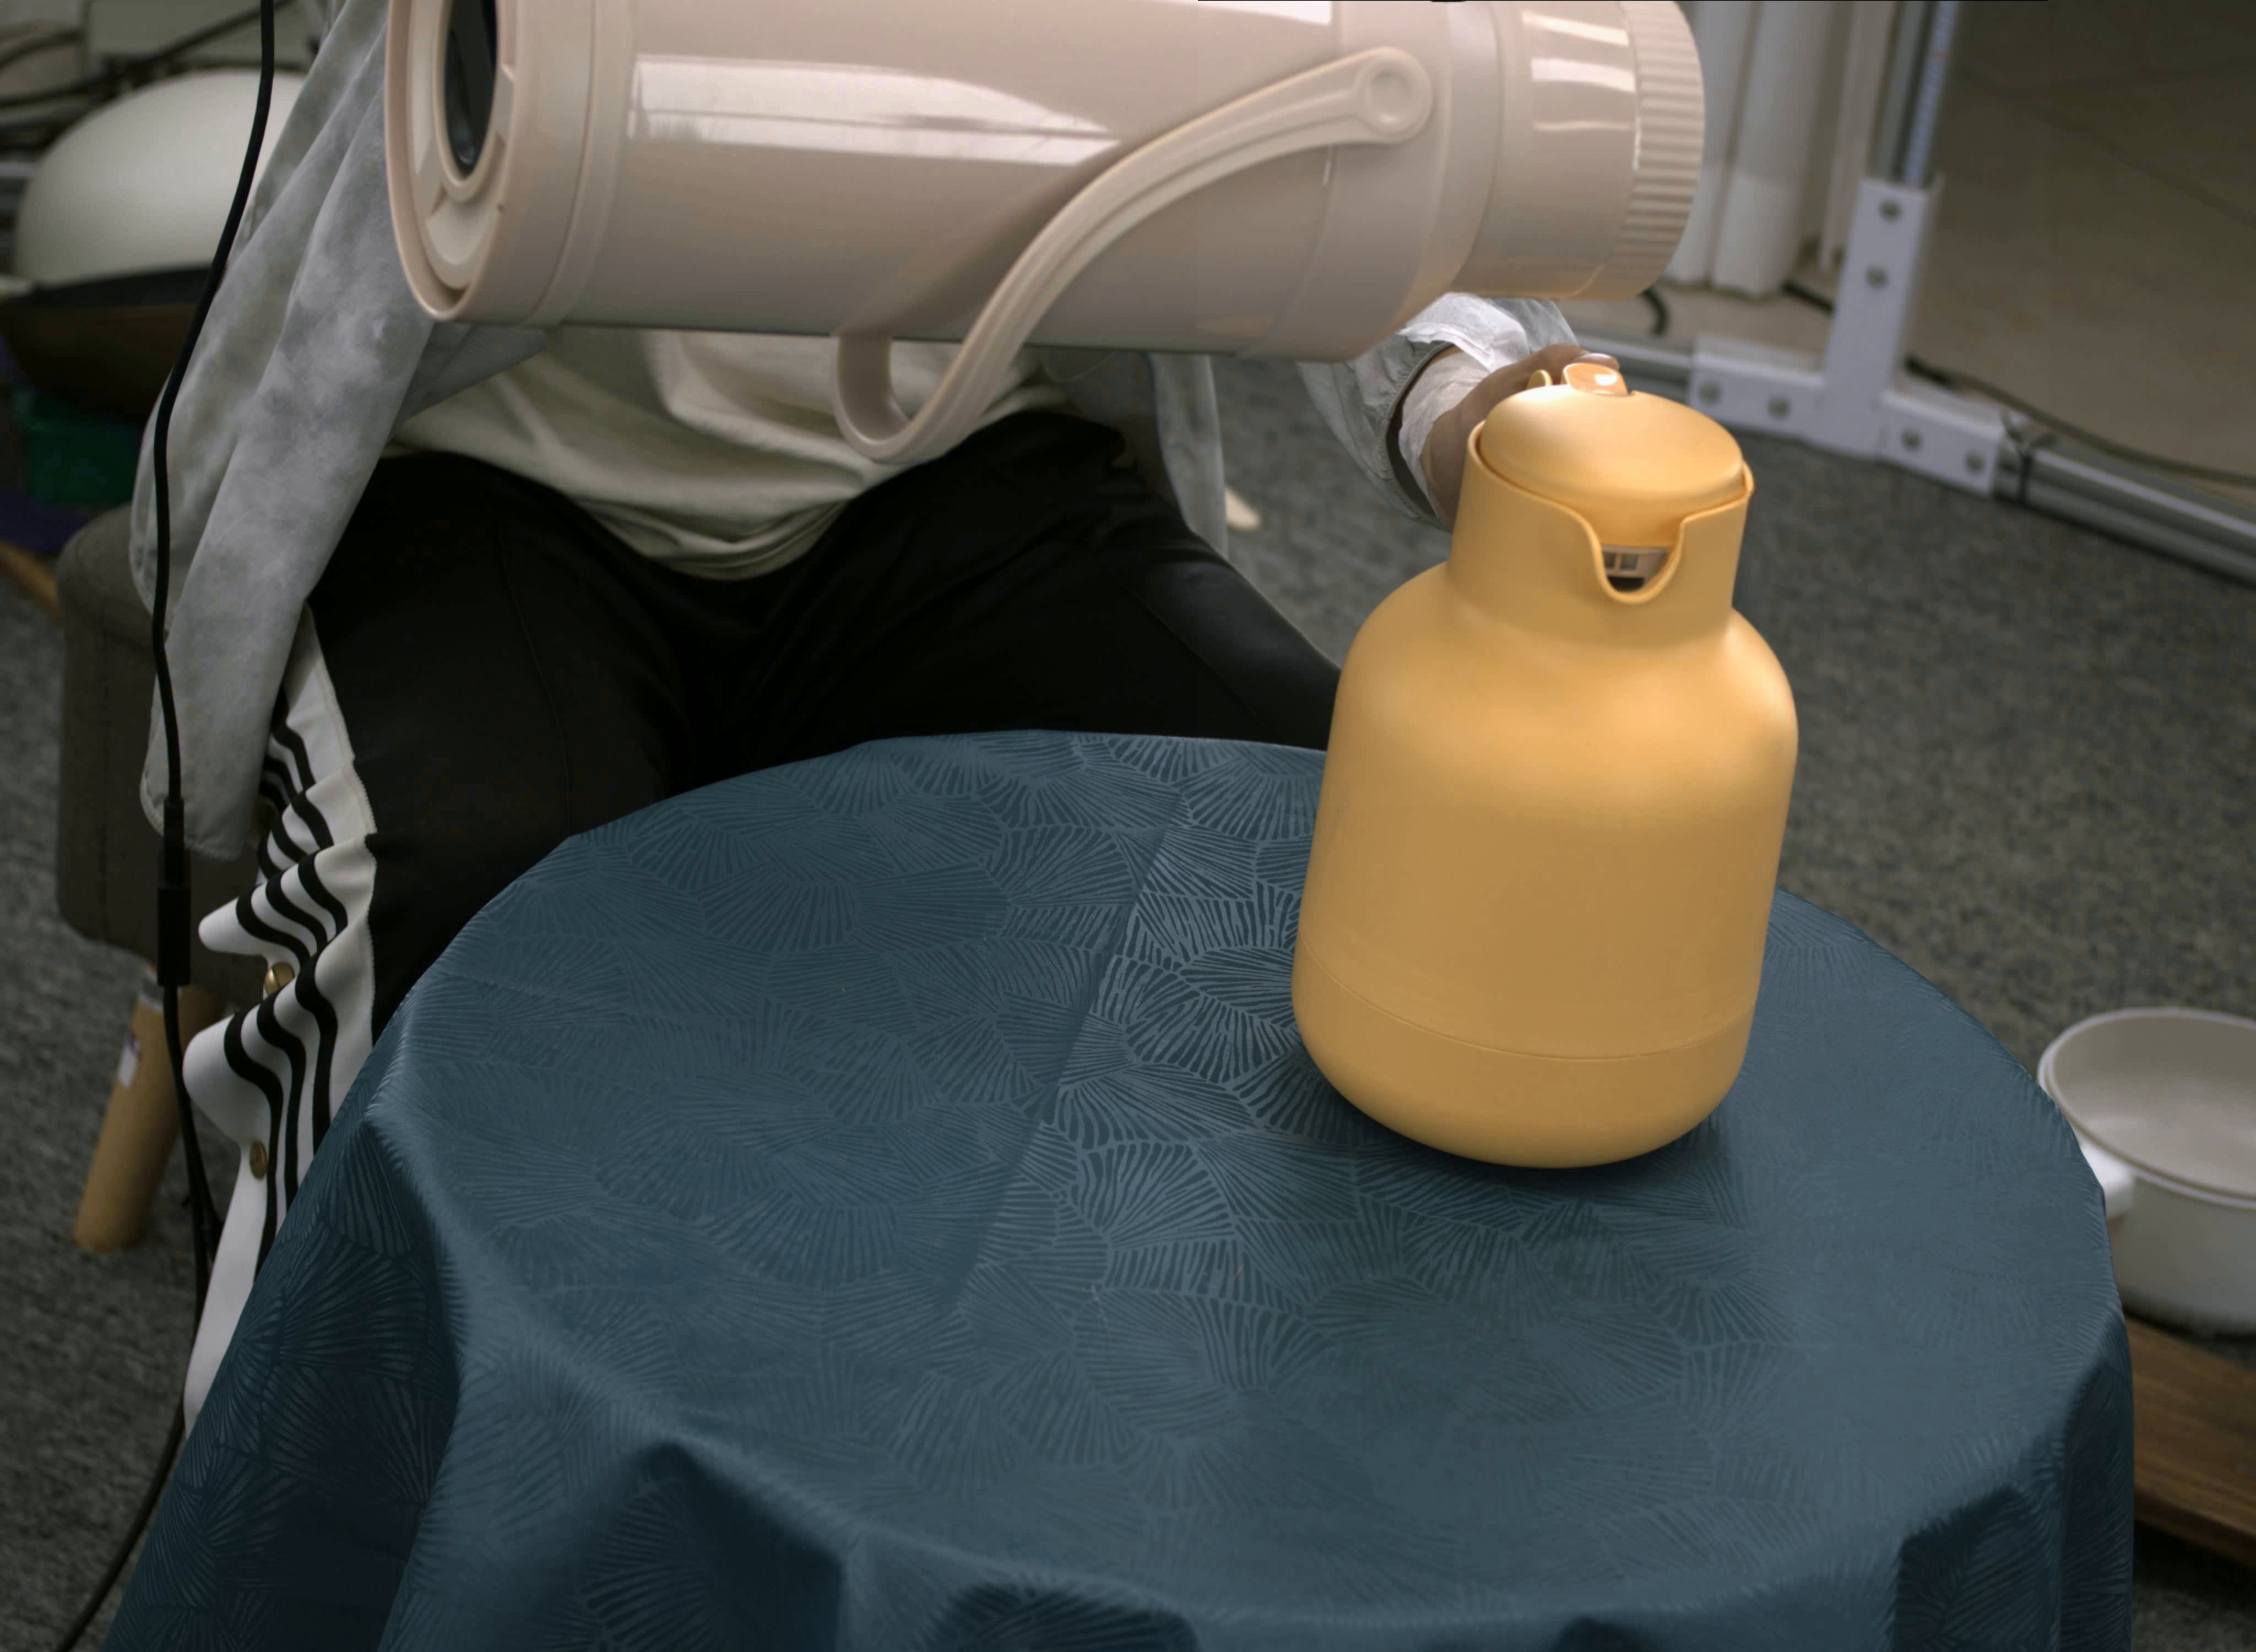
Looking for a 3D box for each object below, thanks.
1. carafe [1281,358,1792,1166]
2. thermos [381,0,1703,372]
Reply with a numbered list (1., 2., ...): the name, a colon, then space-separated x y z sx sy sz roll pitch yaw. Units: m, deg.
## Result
1. carafe: 0.148 -0.031 1.856 0.163 0.259 0.203 7 27 -4
2. thermos: -0.023 -0.243 1.675 0.403 0.207 0.176 1 2 -20
